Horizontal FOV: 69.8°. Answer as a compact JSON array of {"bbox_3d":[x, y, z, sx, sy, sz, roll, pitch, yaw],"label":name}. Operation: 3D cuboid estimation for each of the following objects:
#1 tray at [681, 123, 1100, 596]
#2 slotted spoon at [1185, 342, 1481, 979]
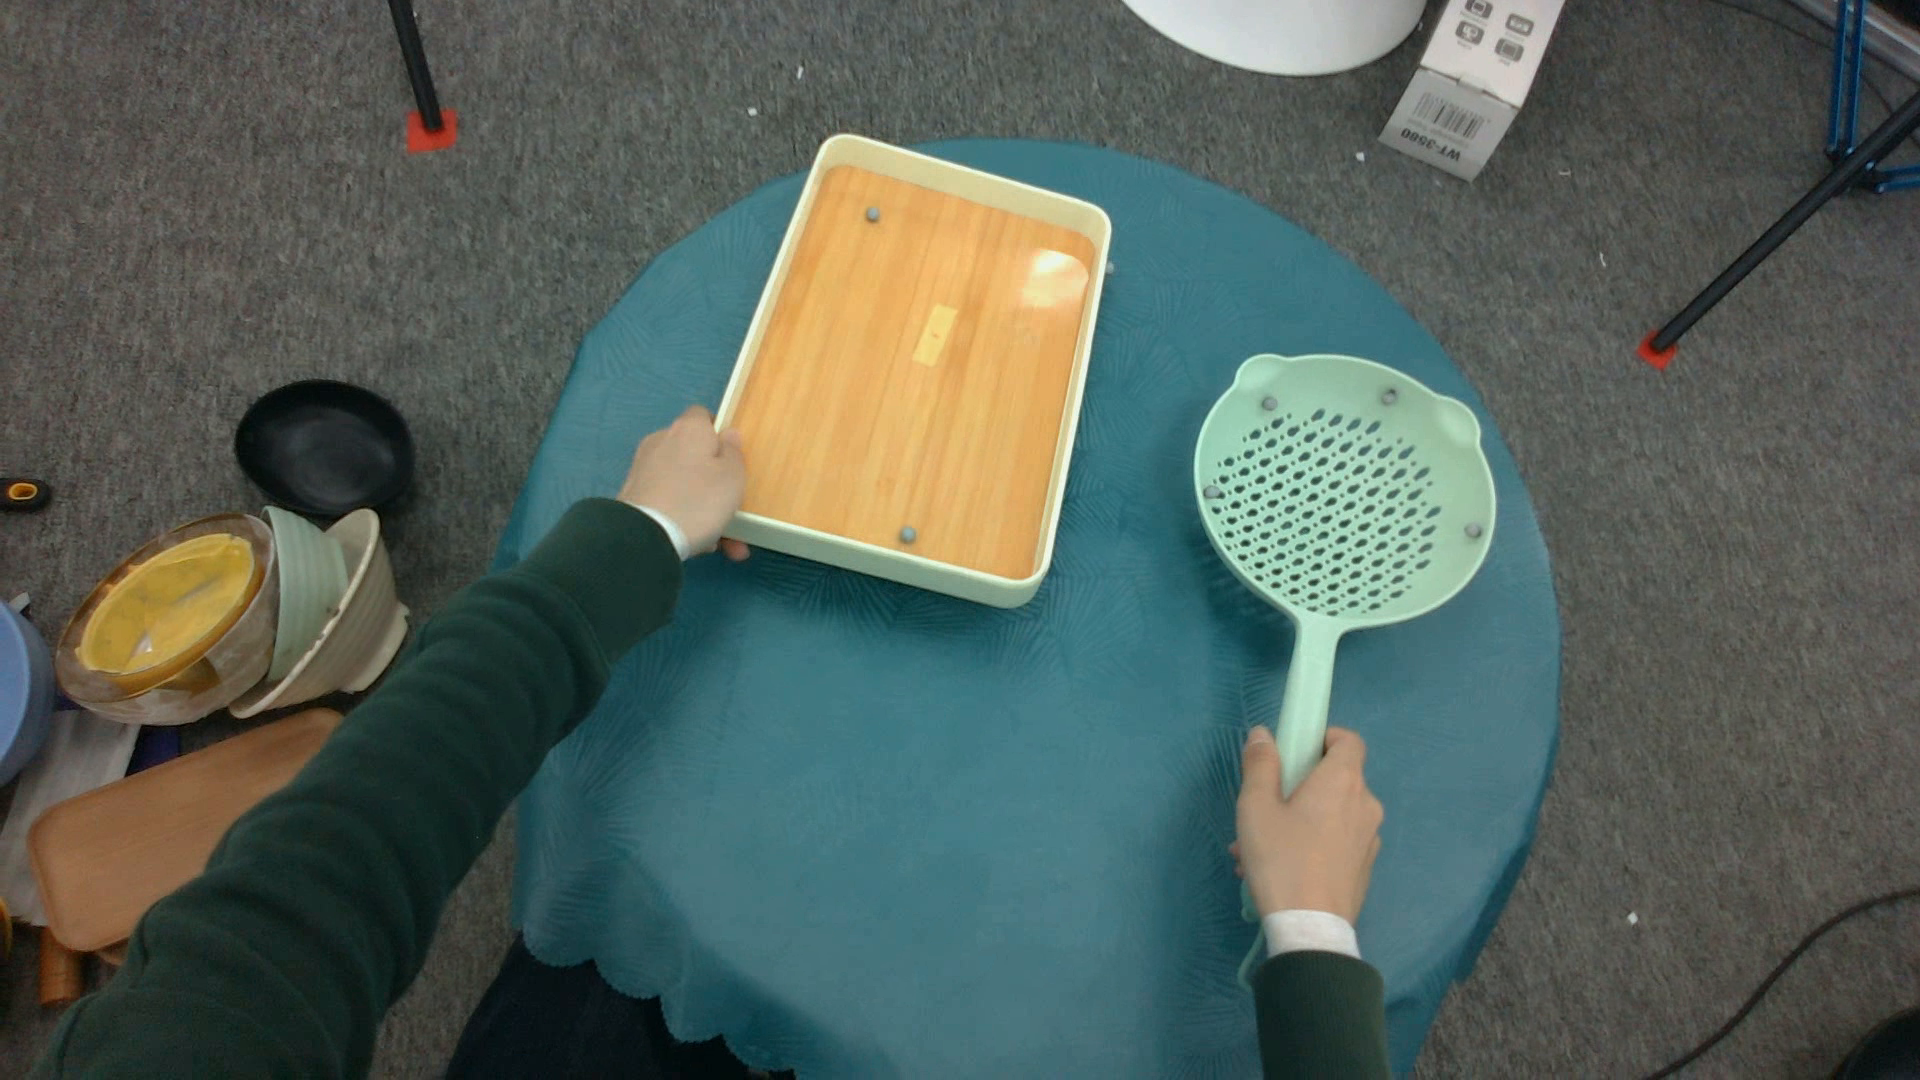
[{"bbox_3d":[-0.029,-0.116,0.795,0.191,0.027,0.302,15,55,-3],"label":"tray"},{"bbox_3d":[0.184,0.051,0.740,0.169,0.075,0.360,15,57,3],"label":"slotted spoon"}]
